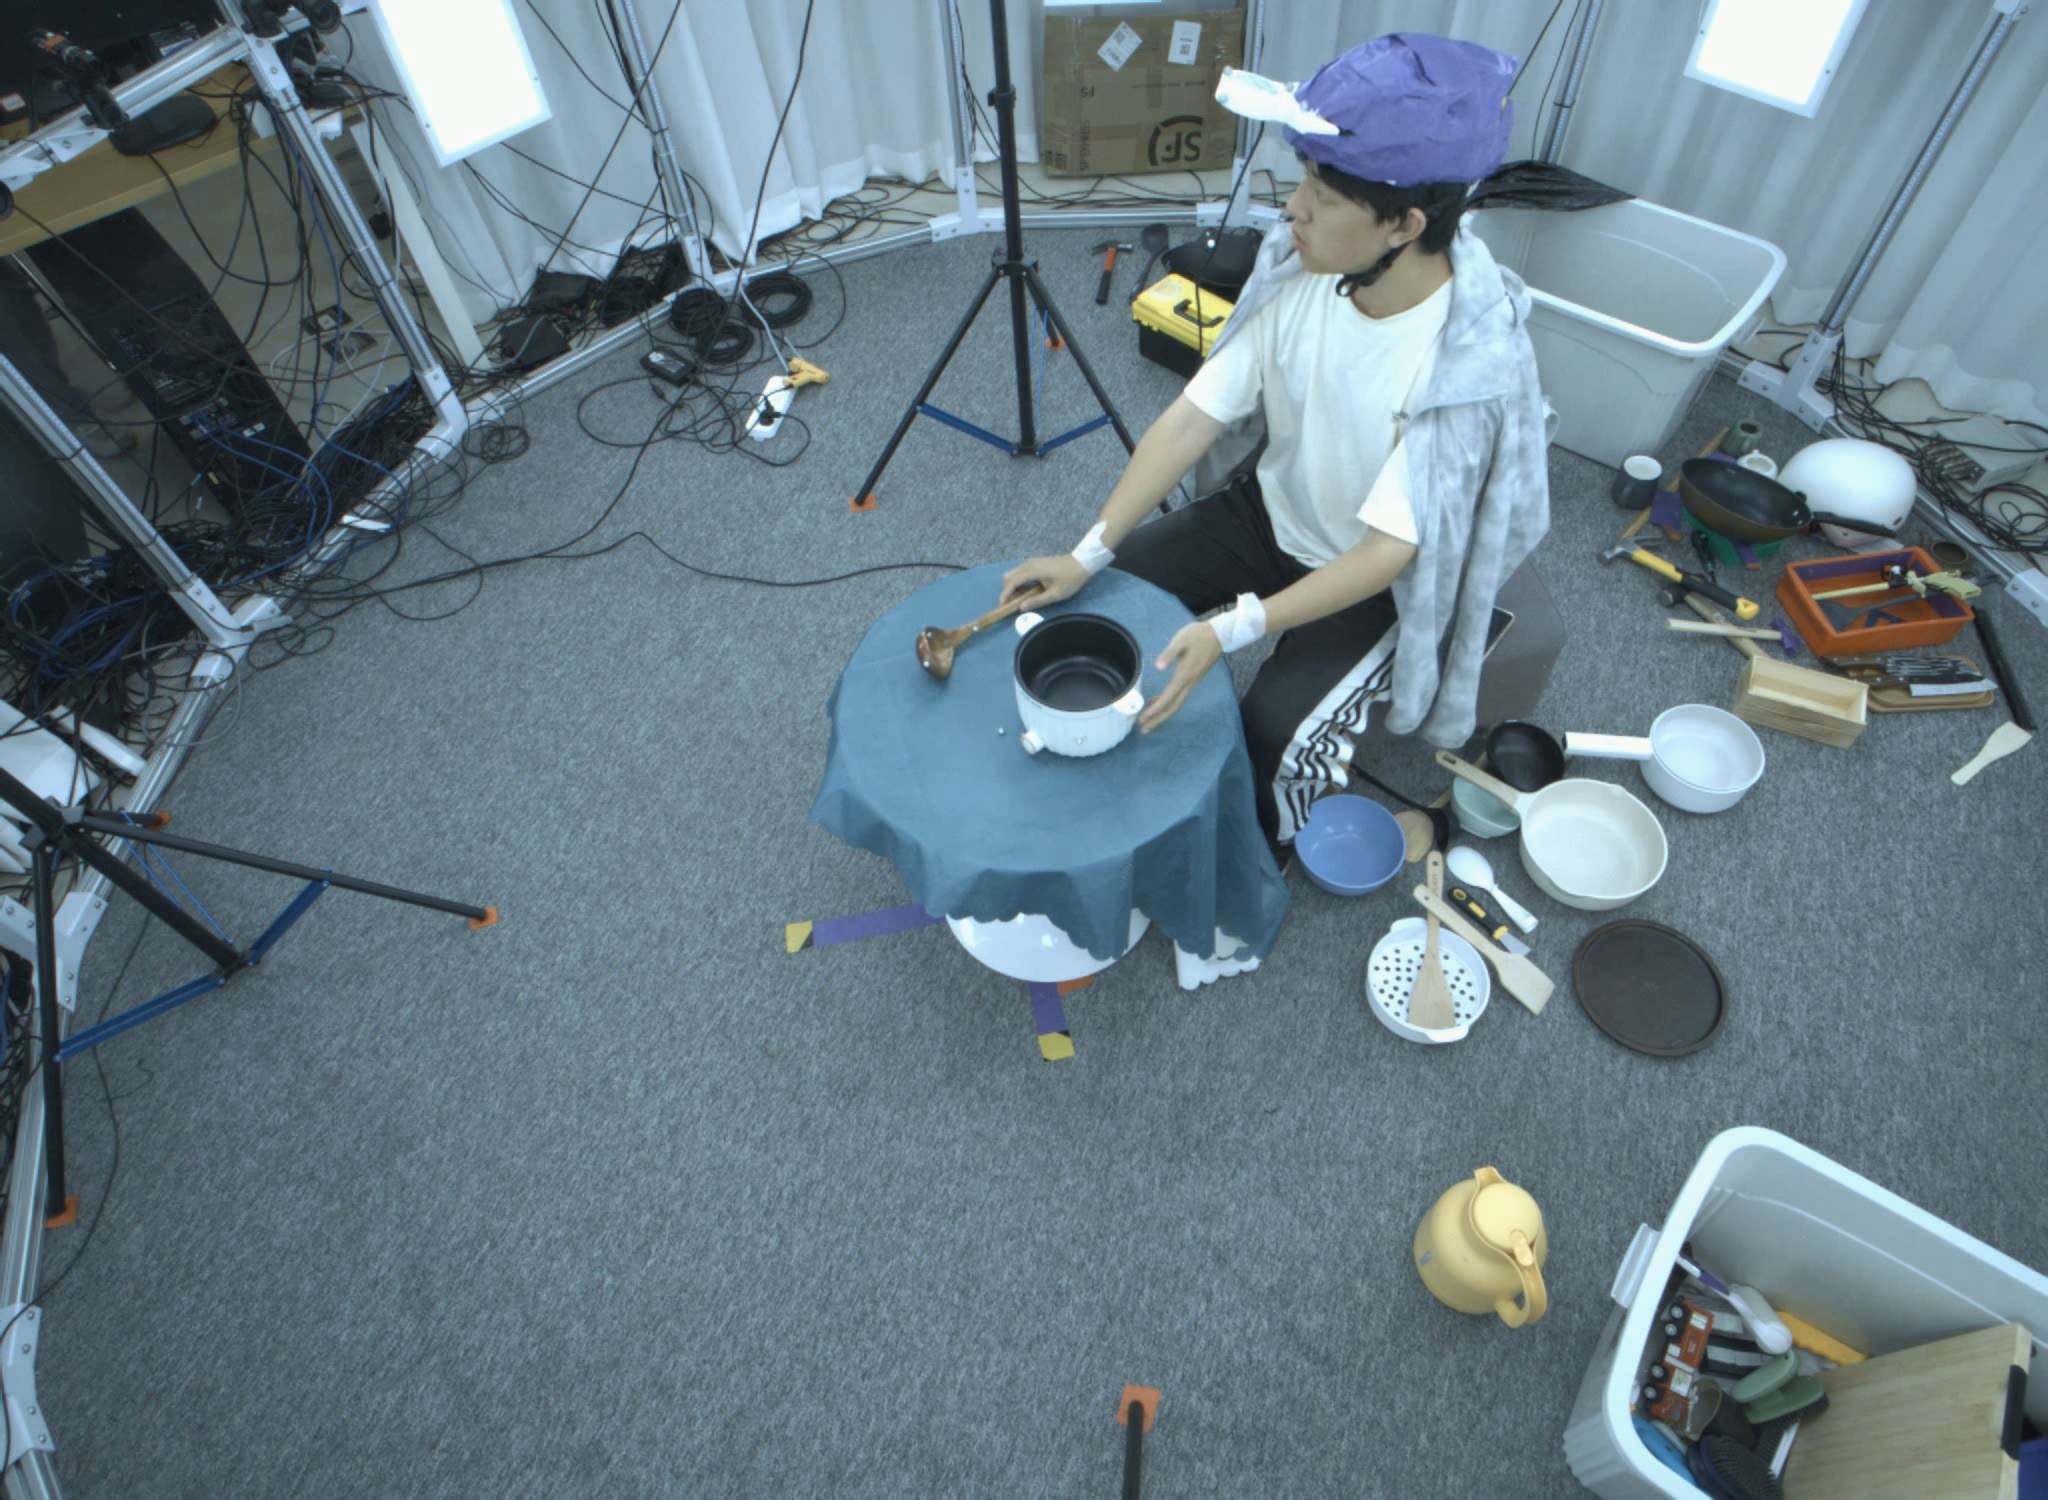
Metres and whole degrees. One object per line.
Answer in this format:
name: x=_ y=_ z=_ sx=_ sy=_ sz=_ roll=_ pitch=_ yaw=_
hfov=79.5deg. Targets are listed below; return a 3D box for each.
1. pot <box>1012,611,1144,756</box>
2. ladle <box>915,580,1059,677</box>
pot: x=0.074 y=-0.083 z=1.760 sx=0.192 sy=0.144 sz=0.236 roll=-36 pitch=60 yaw=-25
ladle: x=-0.050 y=-0.198 z=1.887 sx=0.276 sy=0.083 sz=0.075 roll=-29 pitch=21 yaw=-19
